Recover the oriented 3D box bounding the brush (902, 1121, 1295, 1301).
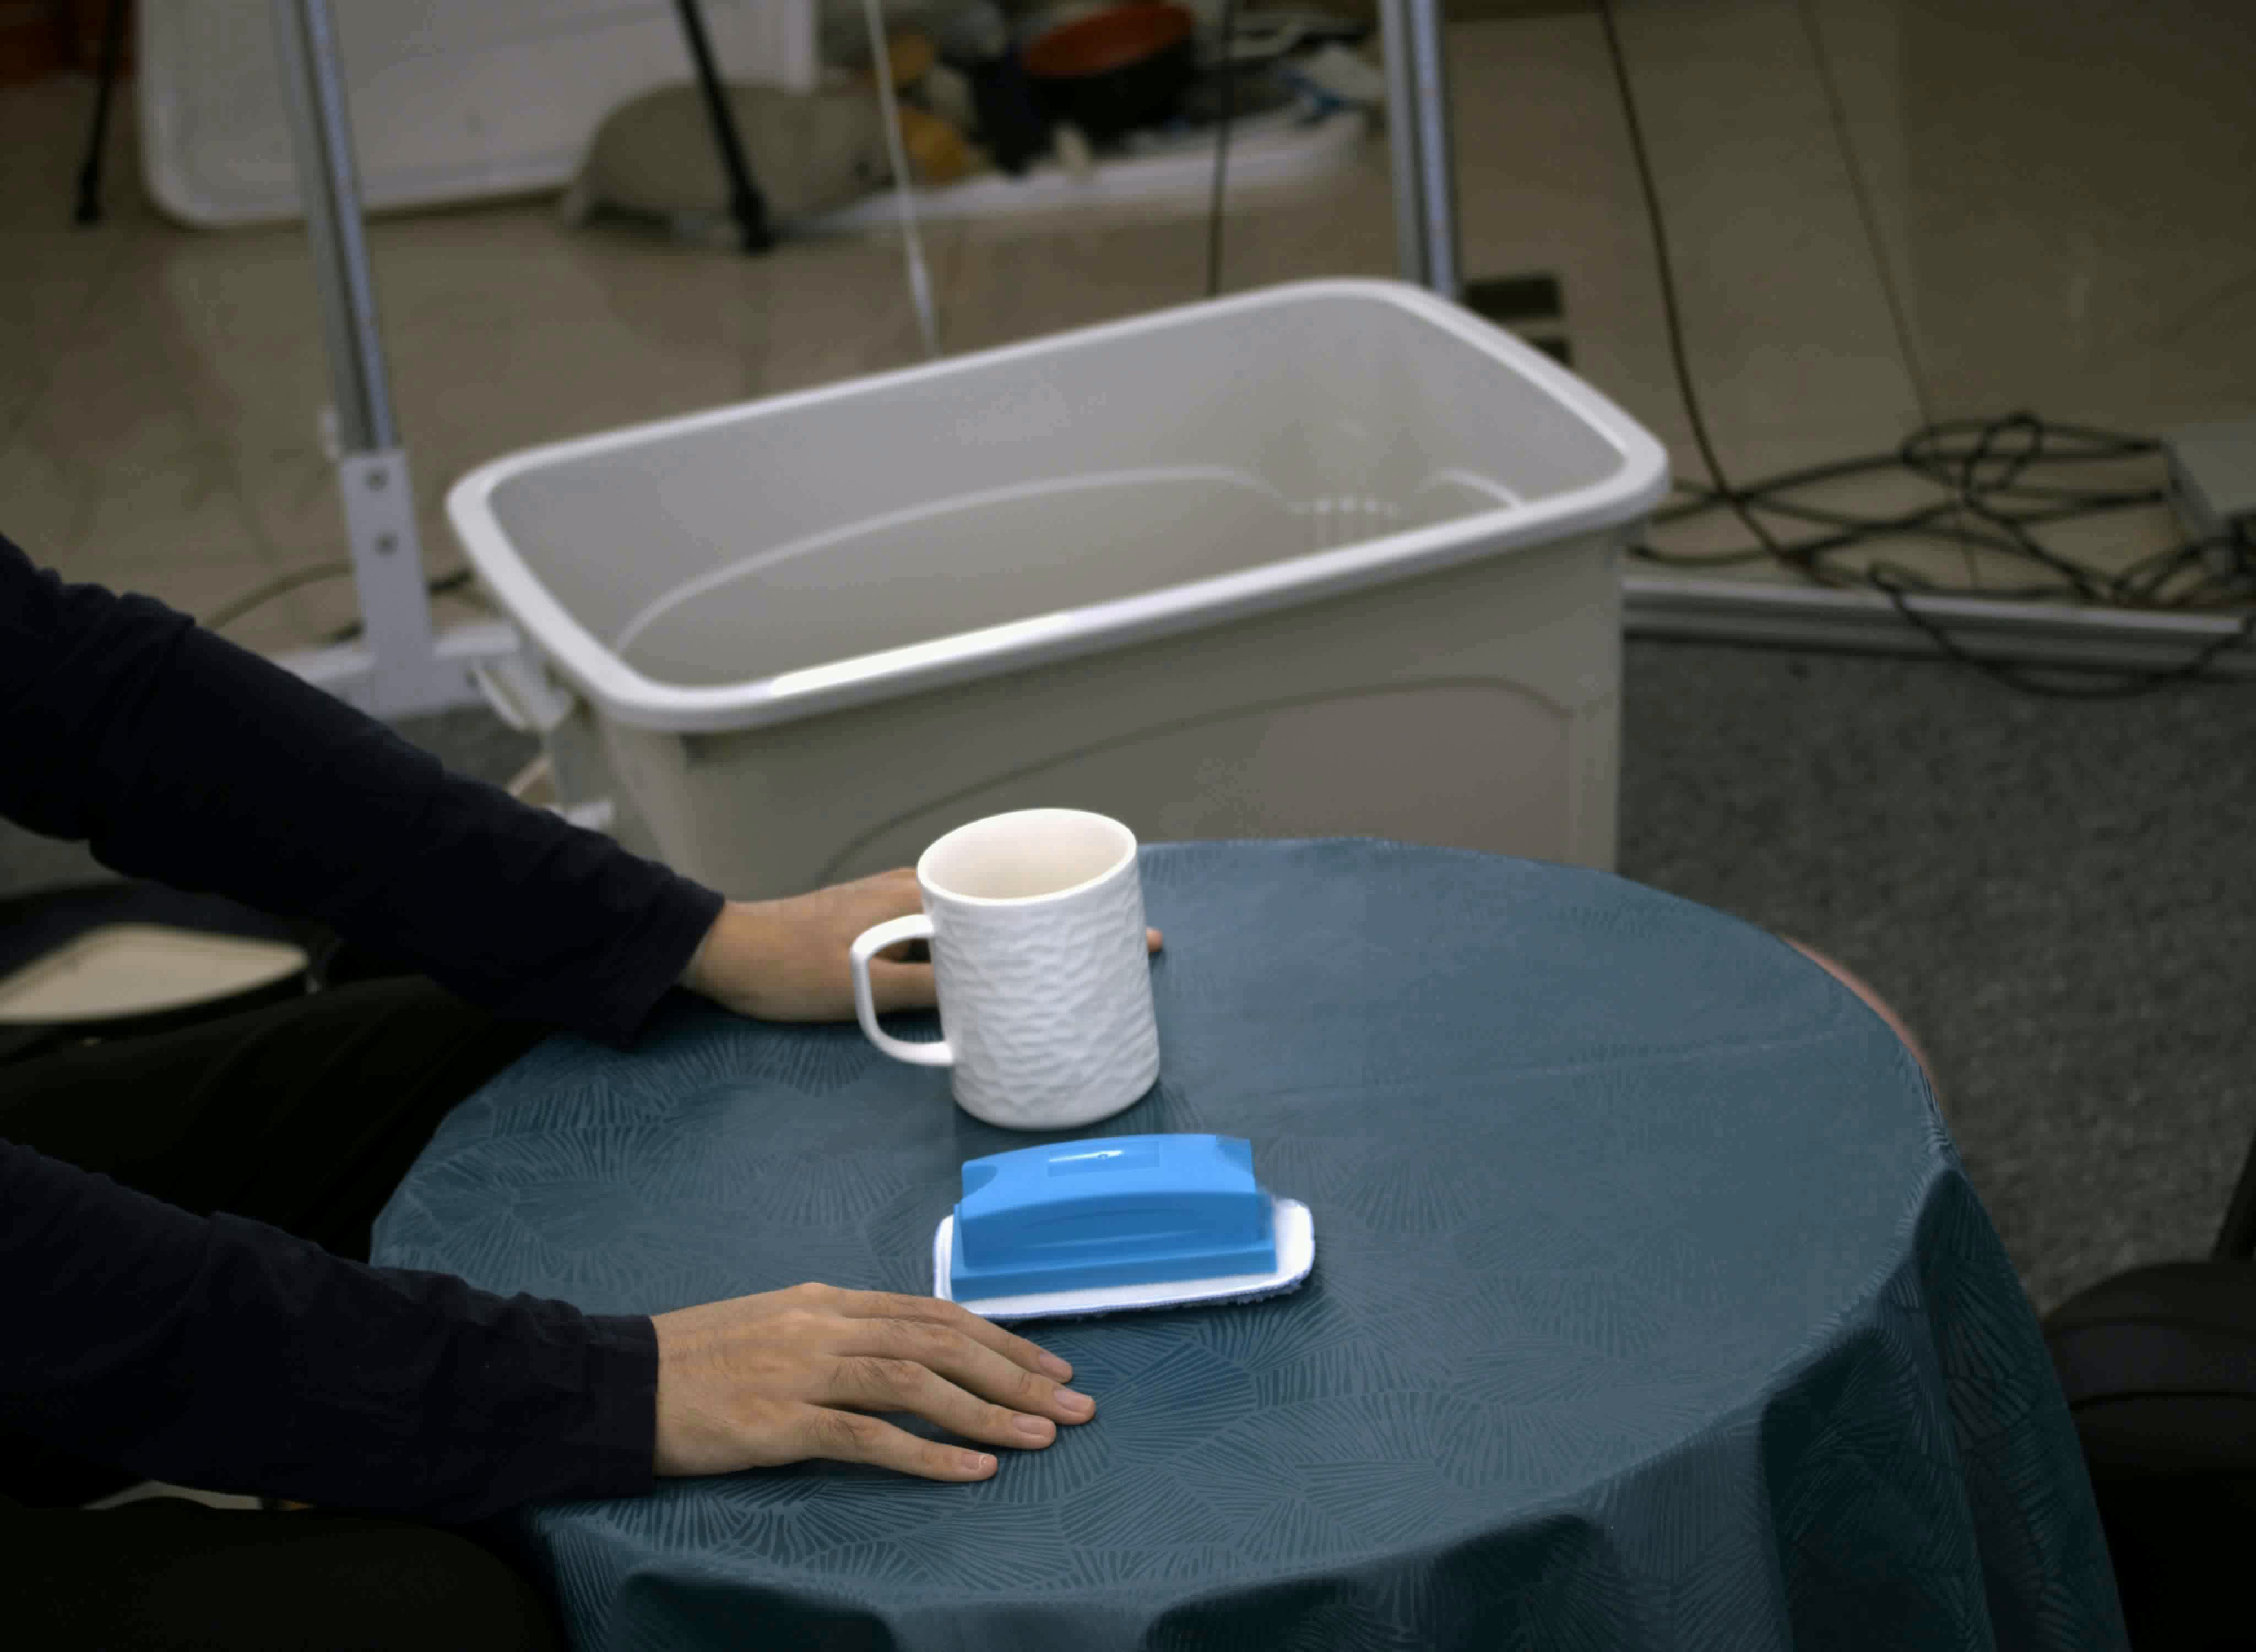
[{"bbox_3d":[-0.011,0.138,2.078,0.144,0.057,0.083,-2,22,3],"label":"brush"}]

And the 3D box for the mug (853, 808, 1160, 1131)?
[{"bbox_3d":[-0.048,0.060,2.206,0.118,0.103,0.084,-14,28,-15],"label":"mug"}]
